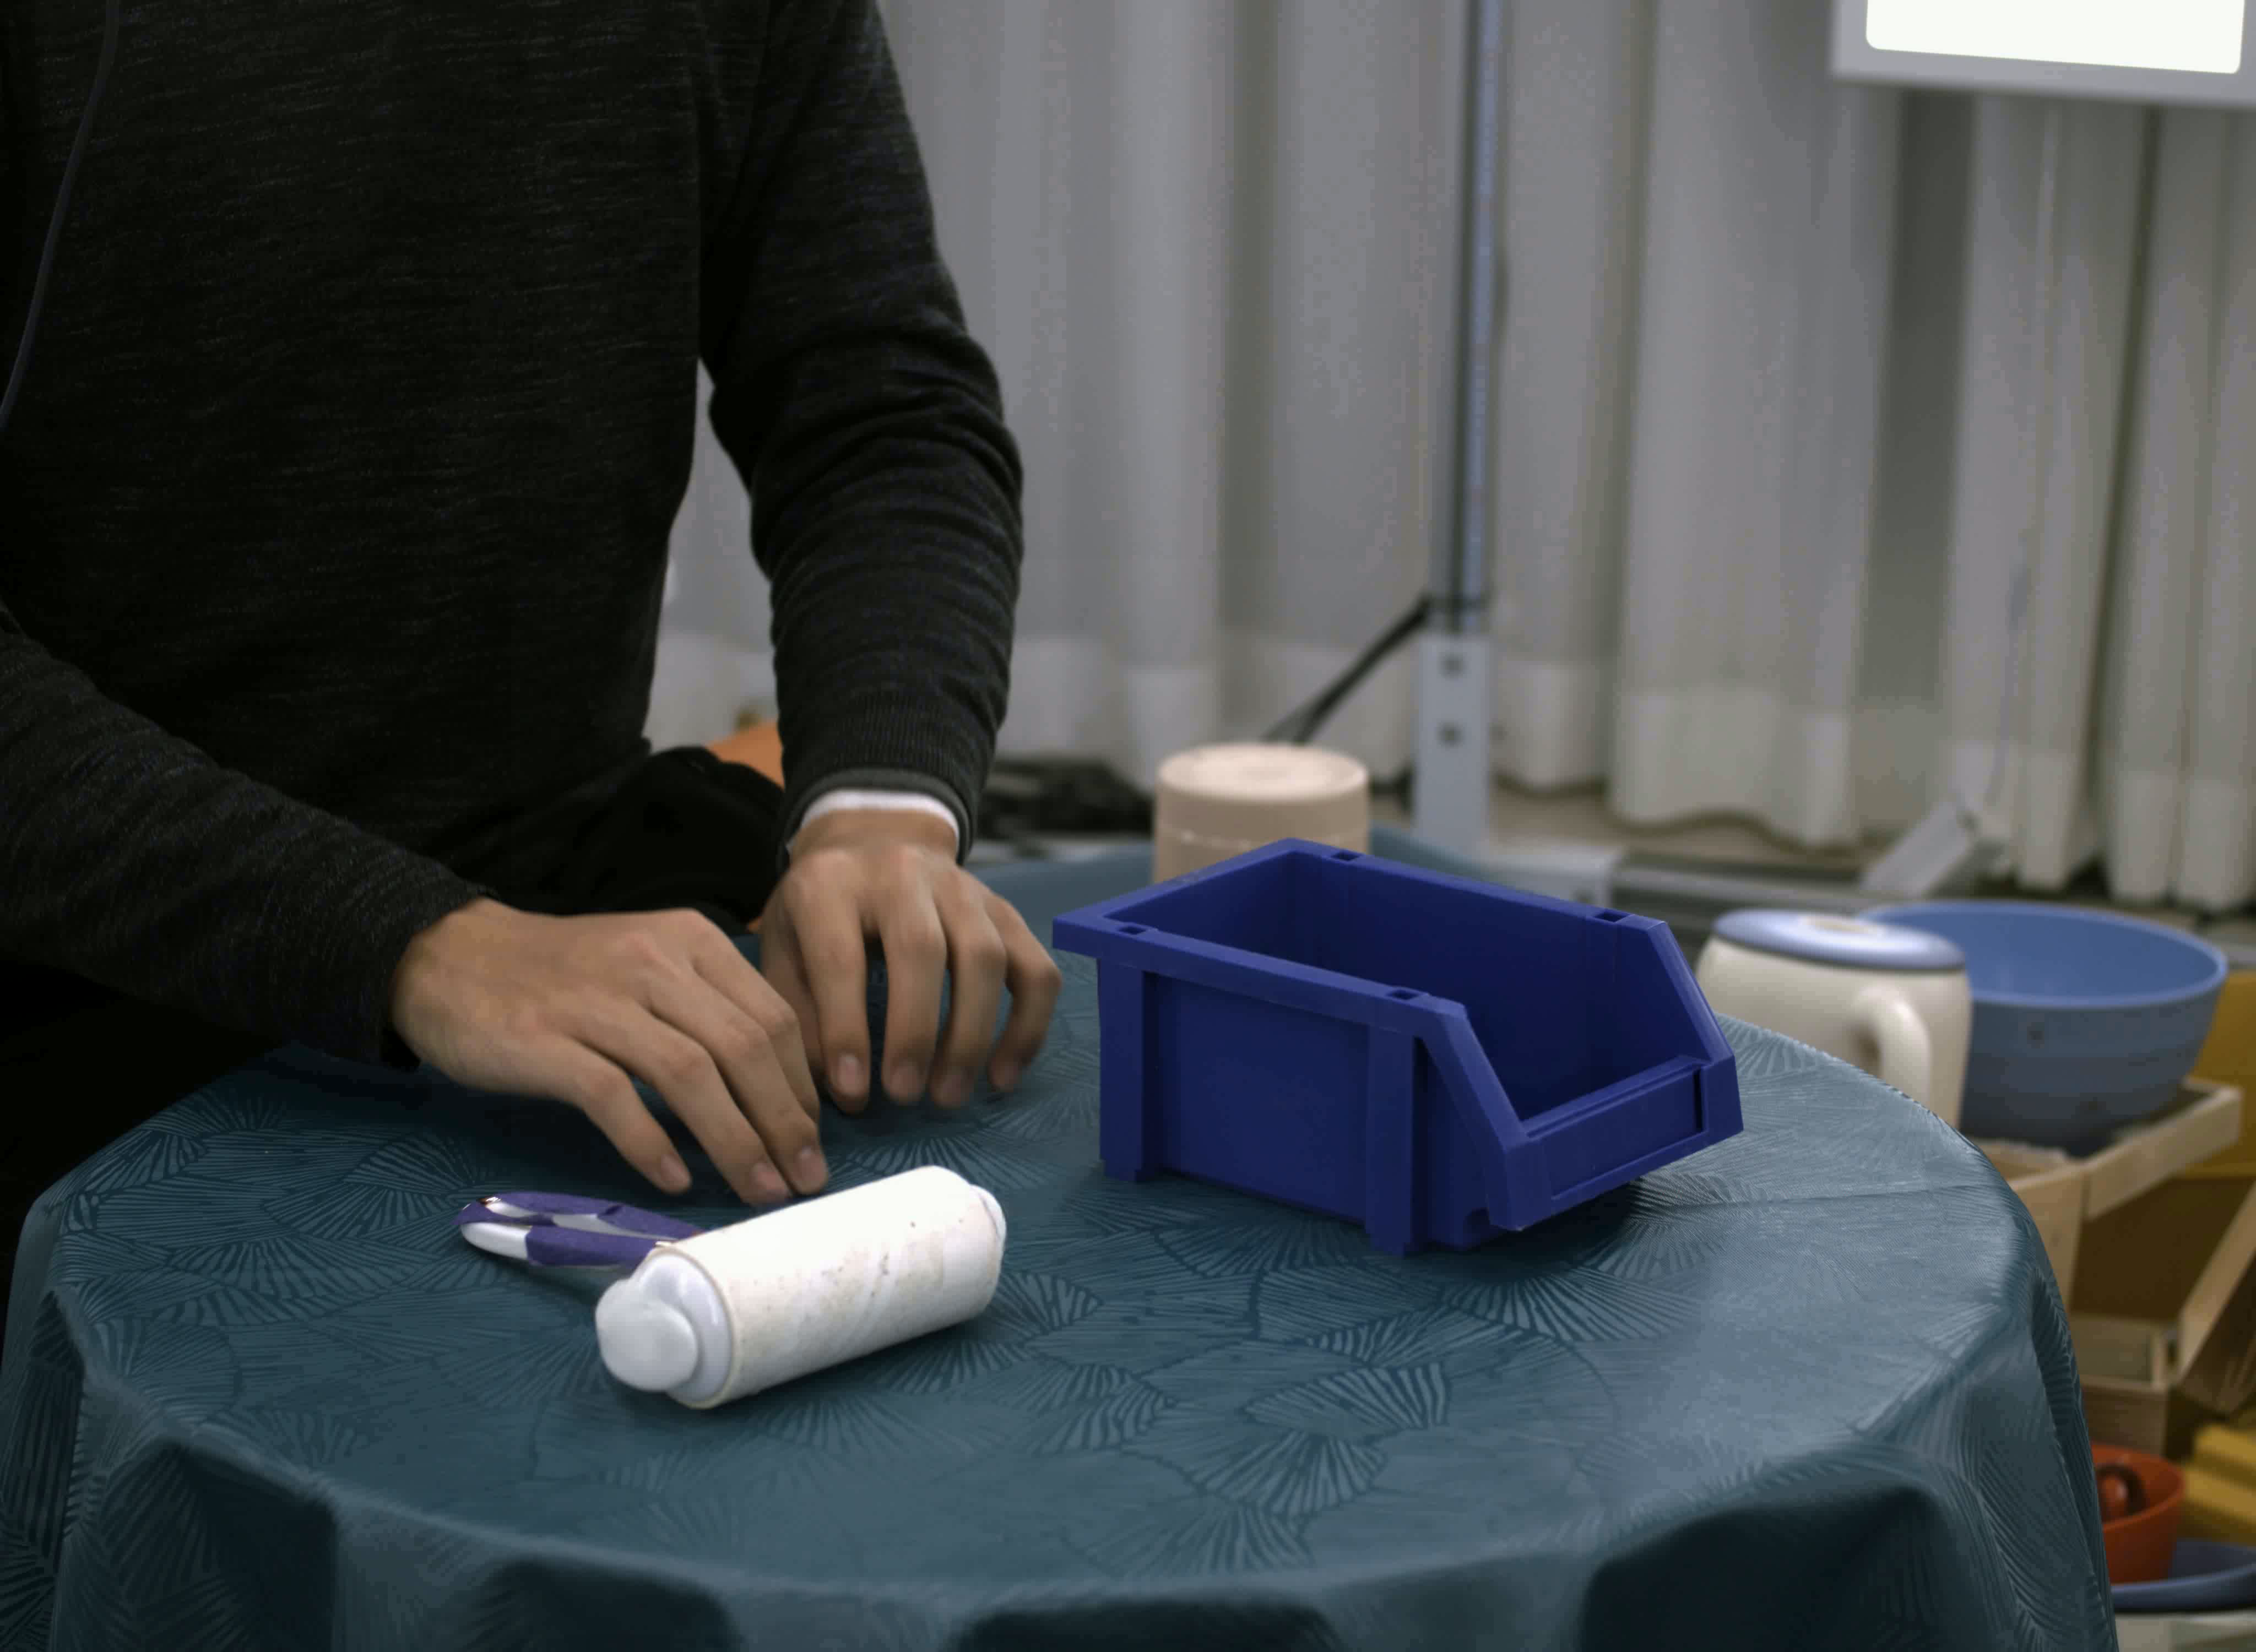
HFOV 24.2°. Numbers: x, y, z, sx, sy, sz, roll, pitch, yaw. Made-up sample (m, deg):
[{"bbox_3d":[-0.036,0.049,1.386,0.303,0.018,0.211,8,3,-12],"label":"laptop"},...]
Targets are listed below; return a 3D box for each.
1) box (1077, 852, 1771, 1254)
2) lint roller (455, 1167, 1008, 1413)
[{"bbox_3d":[0.092,0.070,1.624,0.177,0.082,0.125,10,18,39],"label":"box"},{"bbox_3d":[-0.133,0.115,1.518,0.133,0.050,0.178,-15,24,-41],"label":"lint roller"}]
